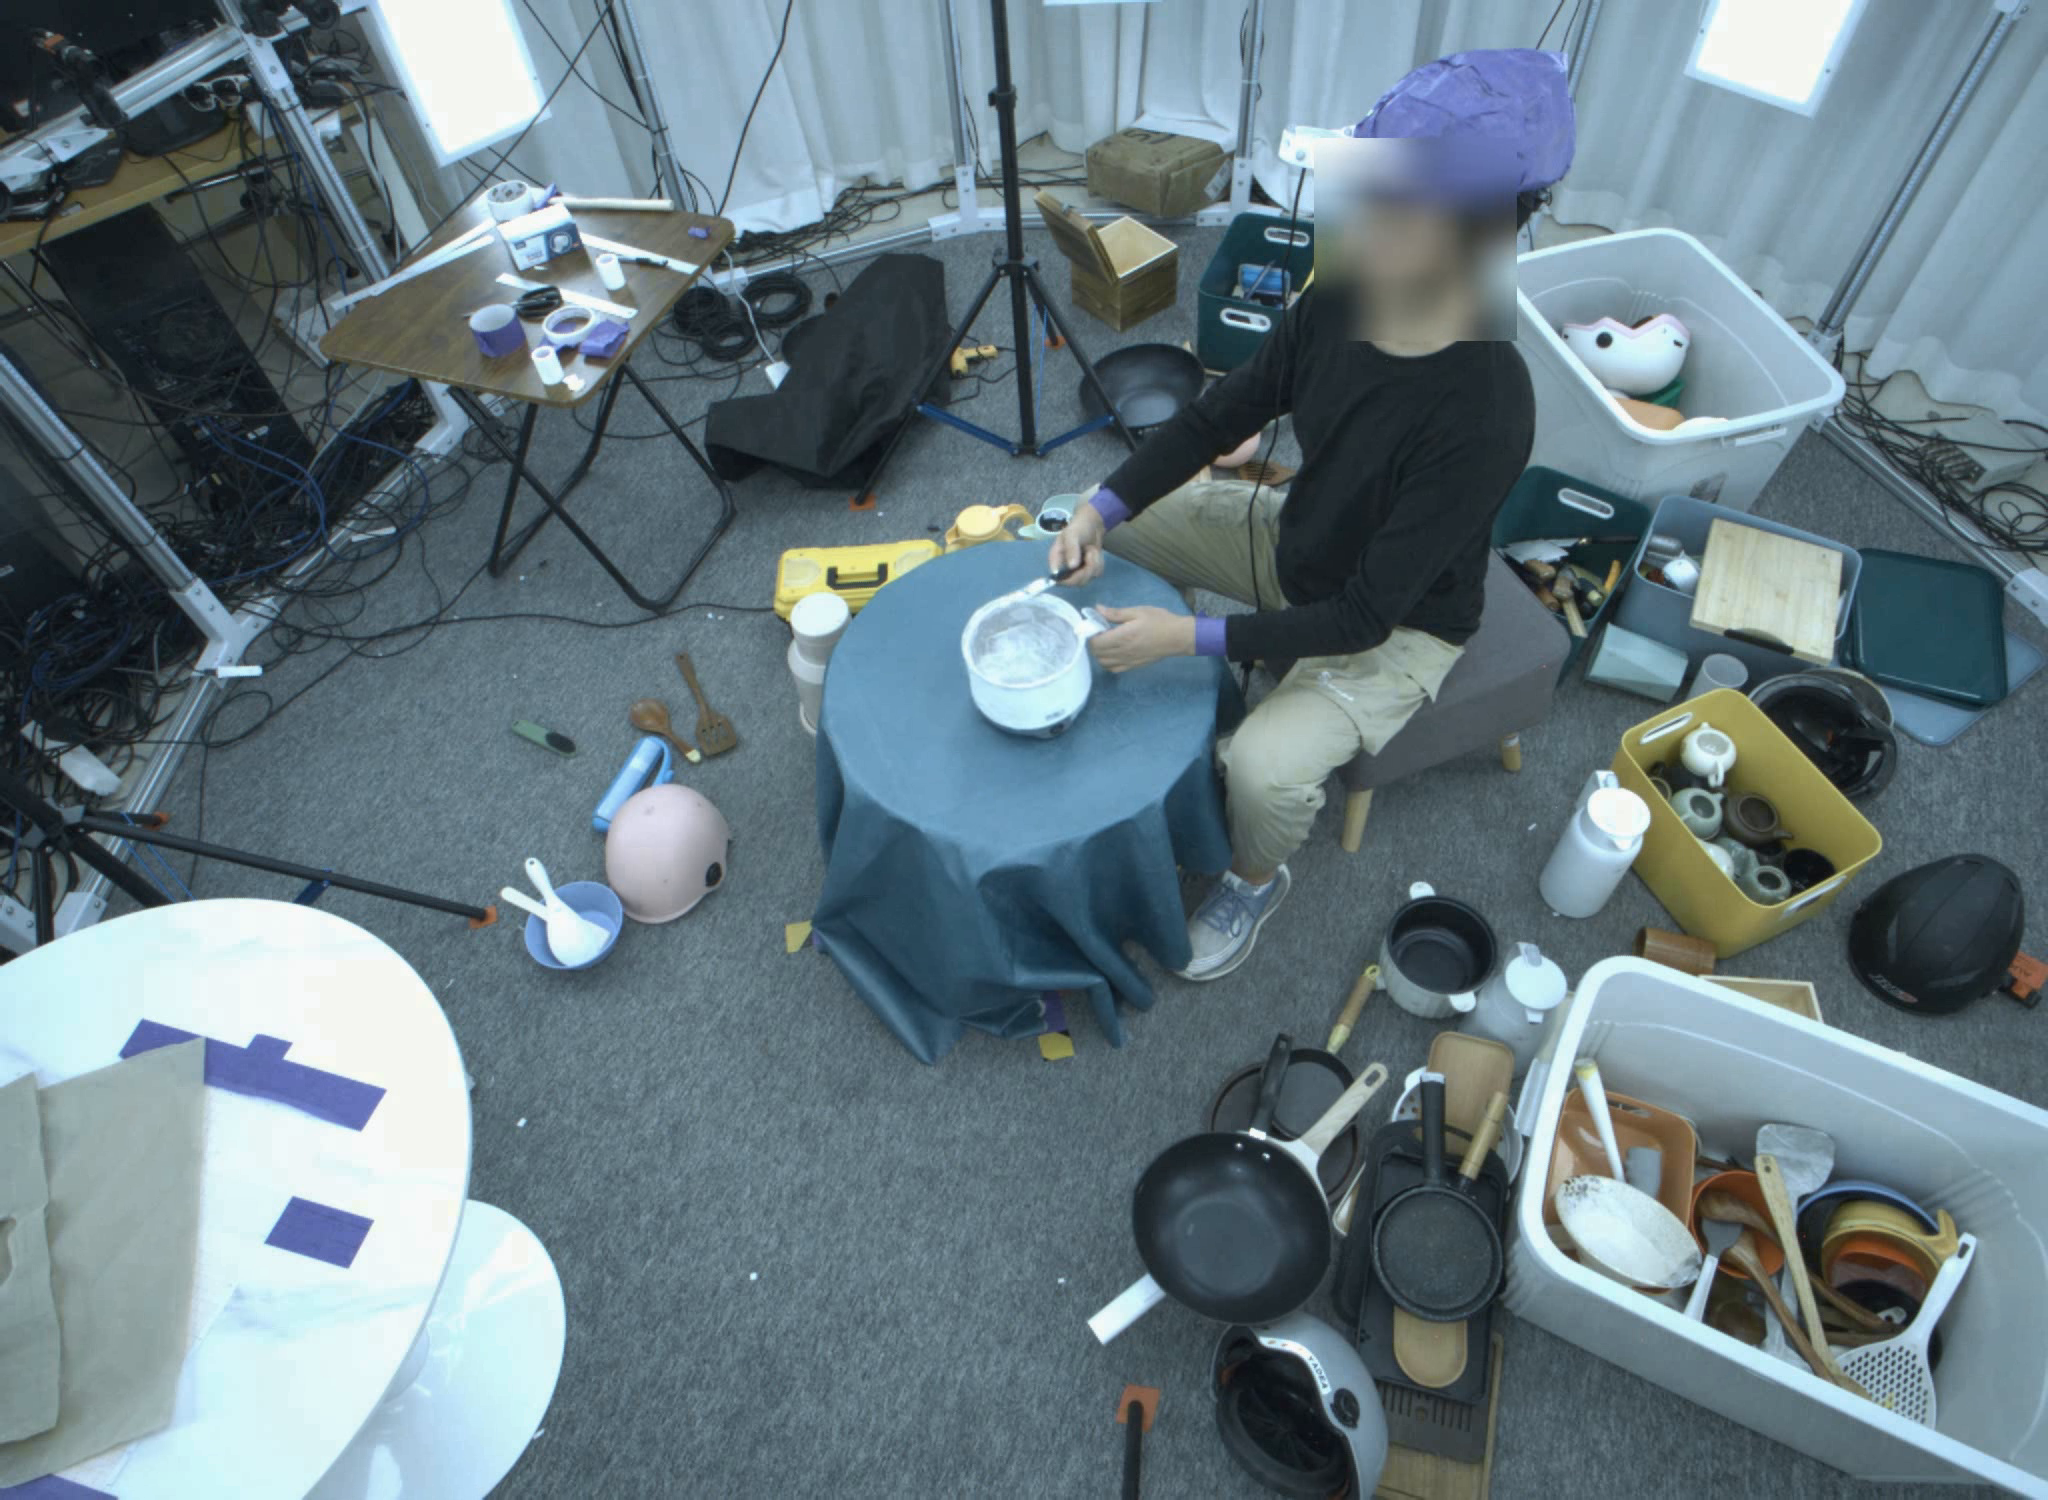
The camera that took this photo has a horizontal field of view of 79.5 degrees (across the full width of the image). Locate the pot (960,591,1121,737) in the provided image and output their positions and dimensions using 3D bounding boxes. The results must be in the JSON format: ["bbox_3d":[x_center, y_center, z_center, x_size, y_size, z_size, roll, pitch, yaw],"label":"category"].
[{"bbox_3d":[0.030,-0.134,1.785,0.235,0.138,0.175,-25,58,-10],"label":"pot"}]

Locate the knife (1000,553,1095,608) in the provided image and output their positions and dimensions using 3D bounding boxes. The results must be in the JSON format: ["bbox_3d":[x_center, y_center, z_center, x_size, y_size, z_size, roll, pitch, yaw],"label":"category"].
[{"bbox_3d":[0.033,-0.249,1.800,0.024,0.016,0.241,29,39,23],"label":"knife"}]
